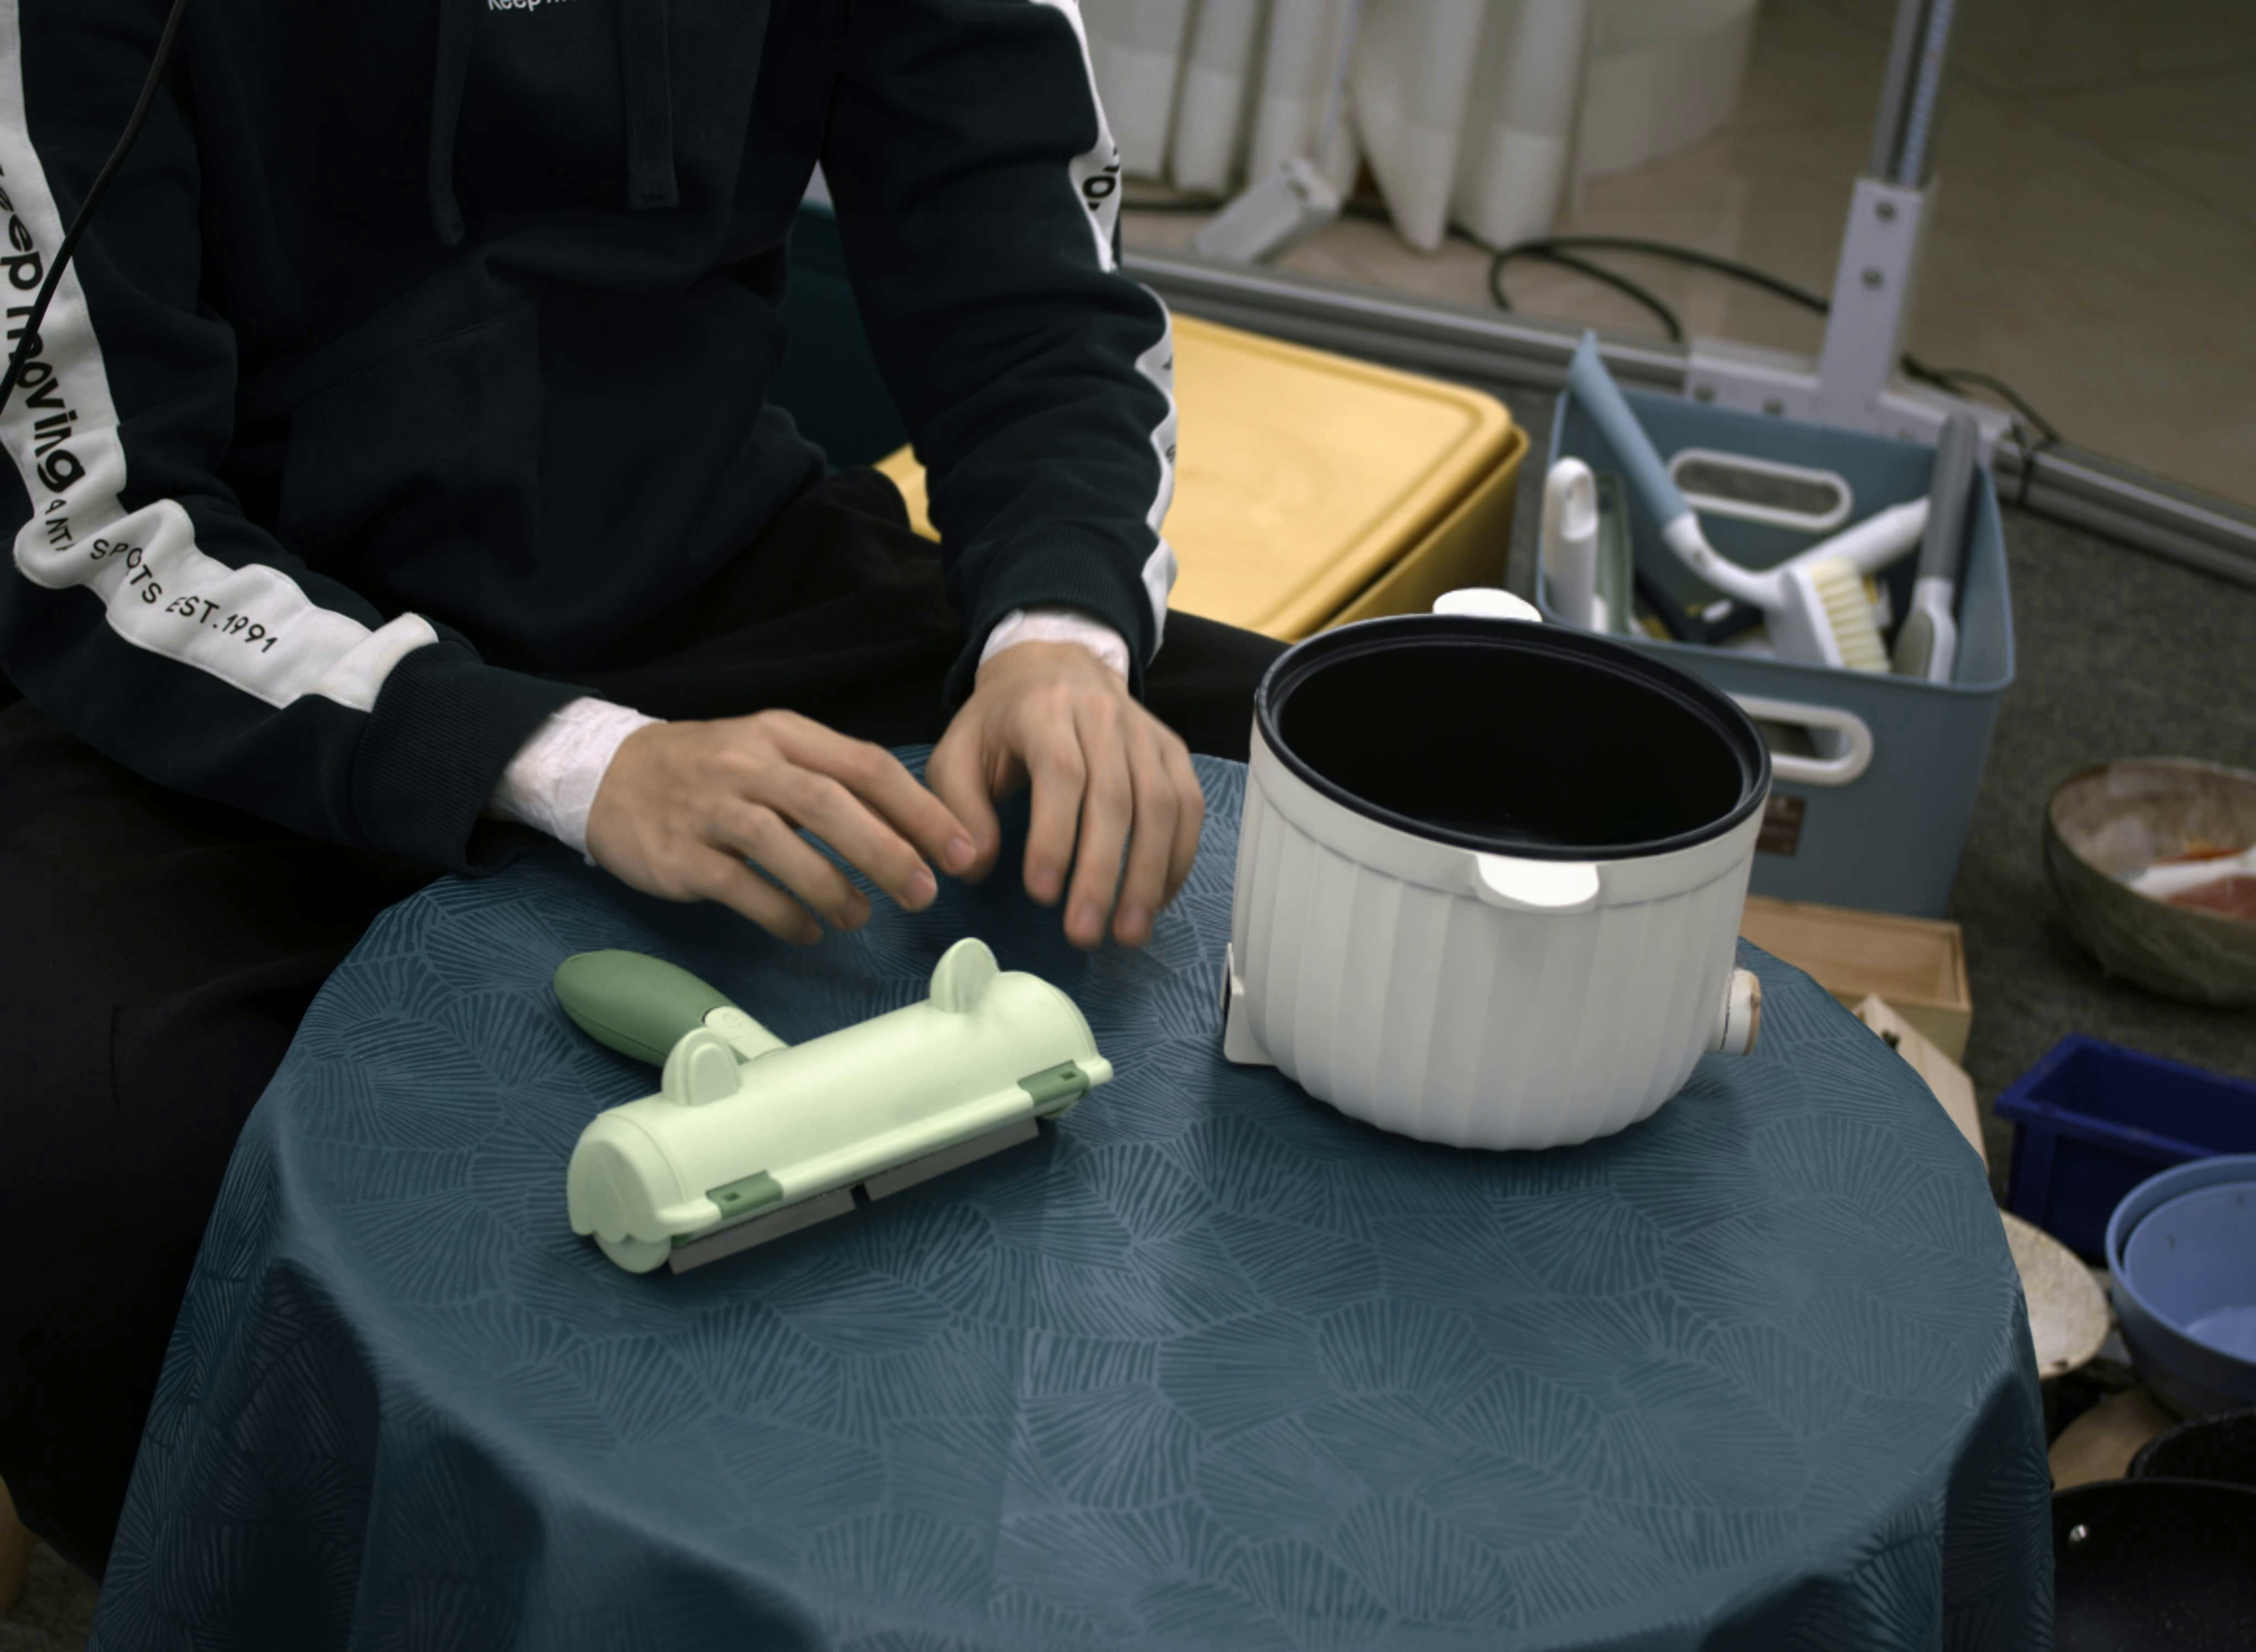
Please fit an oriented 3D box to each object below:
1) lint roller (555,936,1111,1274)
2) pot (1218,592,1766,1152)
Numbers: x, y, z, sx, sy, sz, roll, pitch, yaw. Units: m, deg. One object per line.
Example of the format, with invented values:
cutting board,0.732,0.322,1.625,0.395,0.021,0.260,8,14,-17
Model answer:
lint roller,-0.133,0.065,1.801,0.197,0.082,0.185,-18,41,-39
pot,0.130,0.025,1.871,0.190,0.142,0.242,2,28,-3
